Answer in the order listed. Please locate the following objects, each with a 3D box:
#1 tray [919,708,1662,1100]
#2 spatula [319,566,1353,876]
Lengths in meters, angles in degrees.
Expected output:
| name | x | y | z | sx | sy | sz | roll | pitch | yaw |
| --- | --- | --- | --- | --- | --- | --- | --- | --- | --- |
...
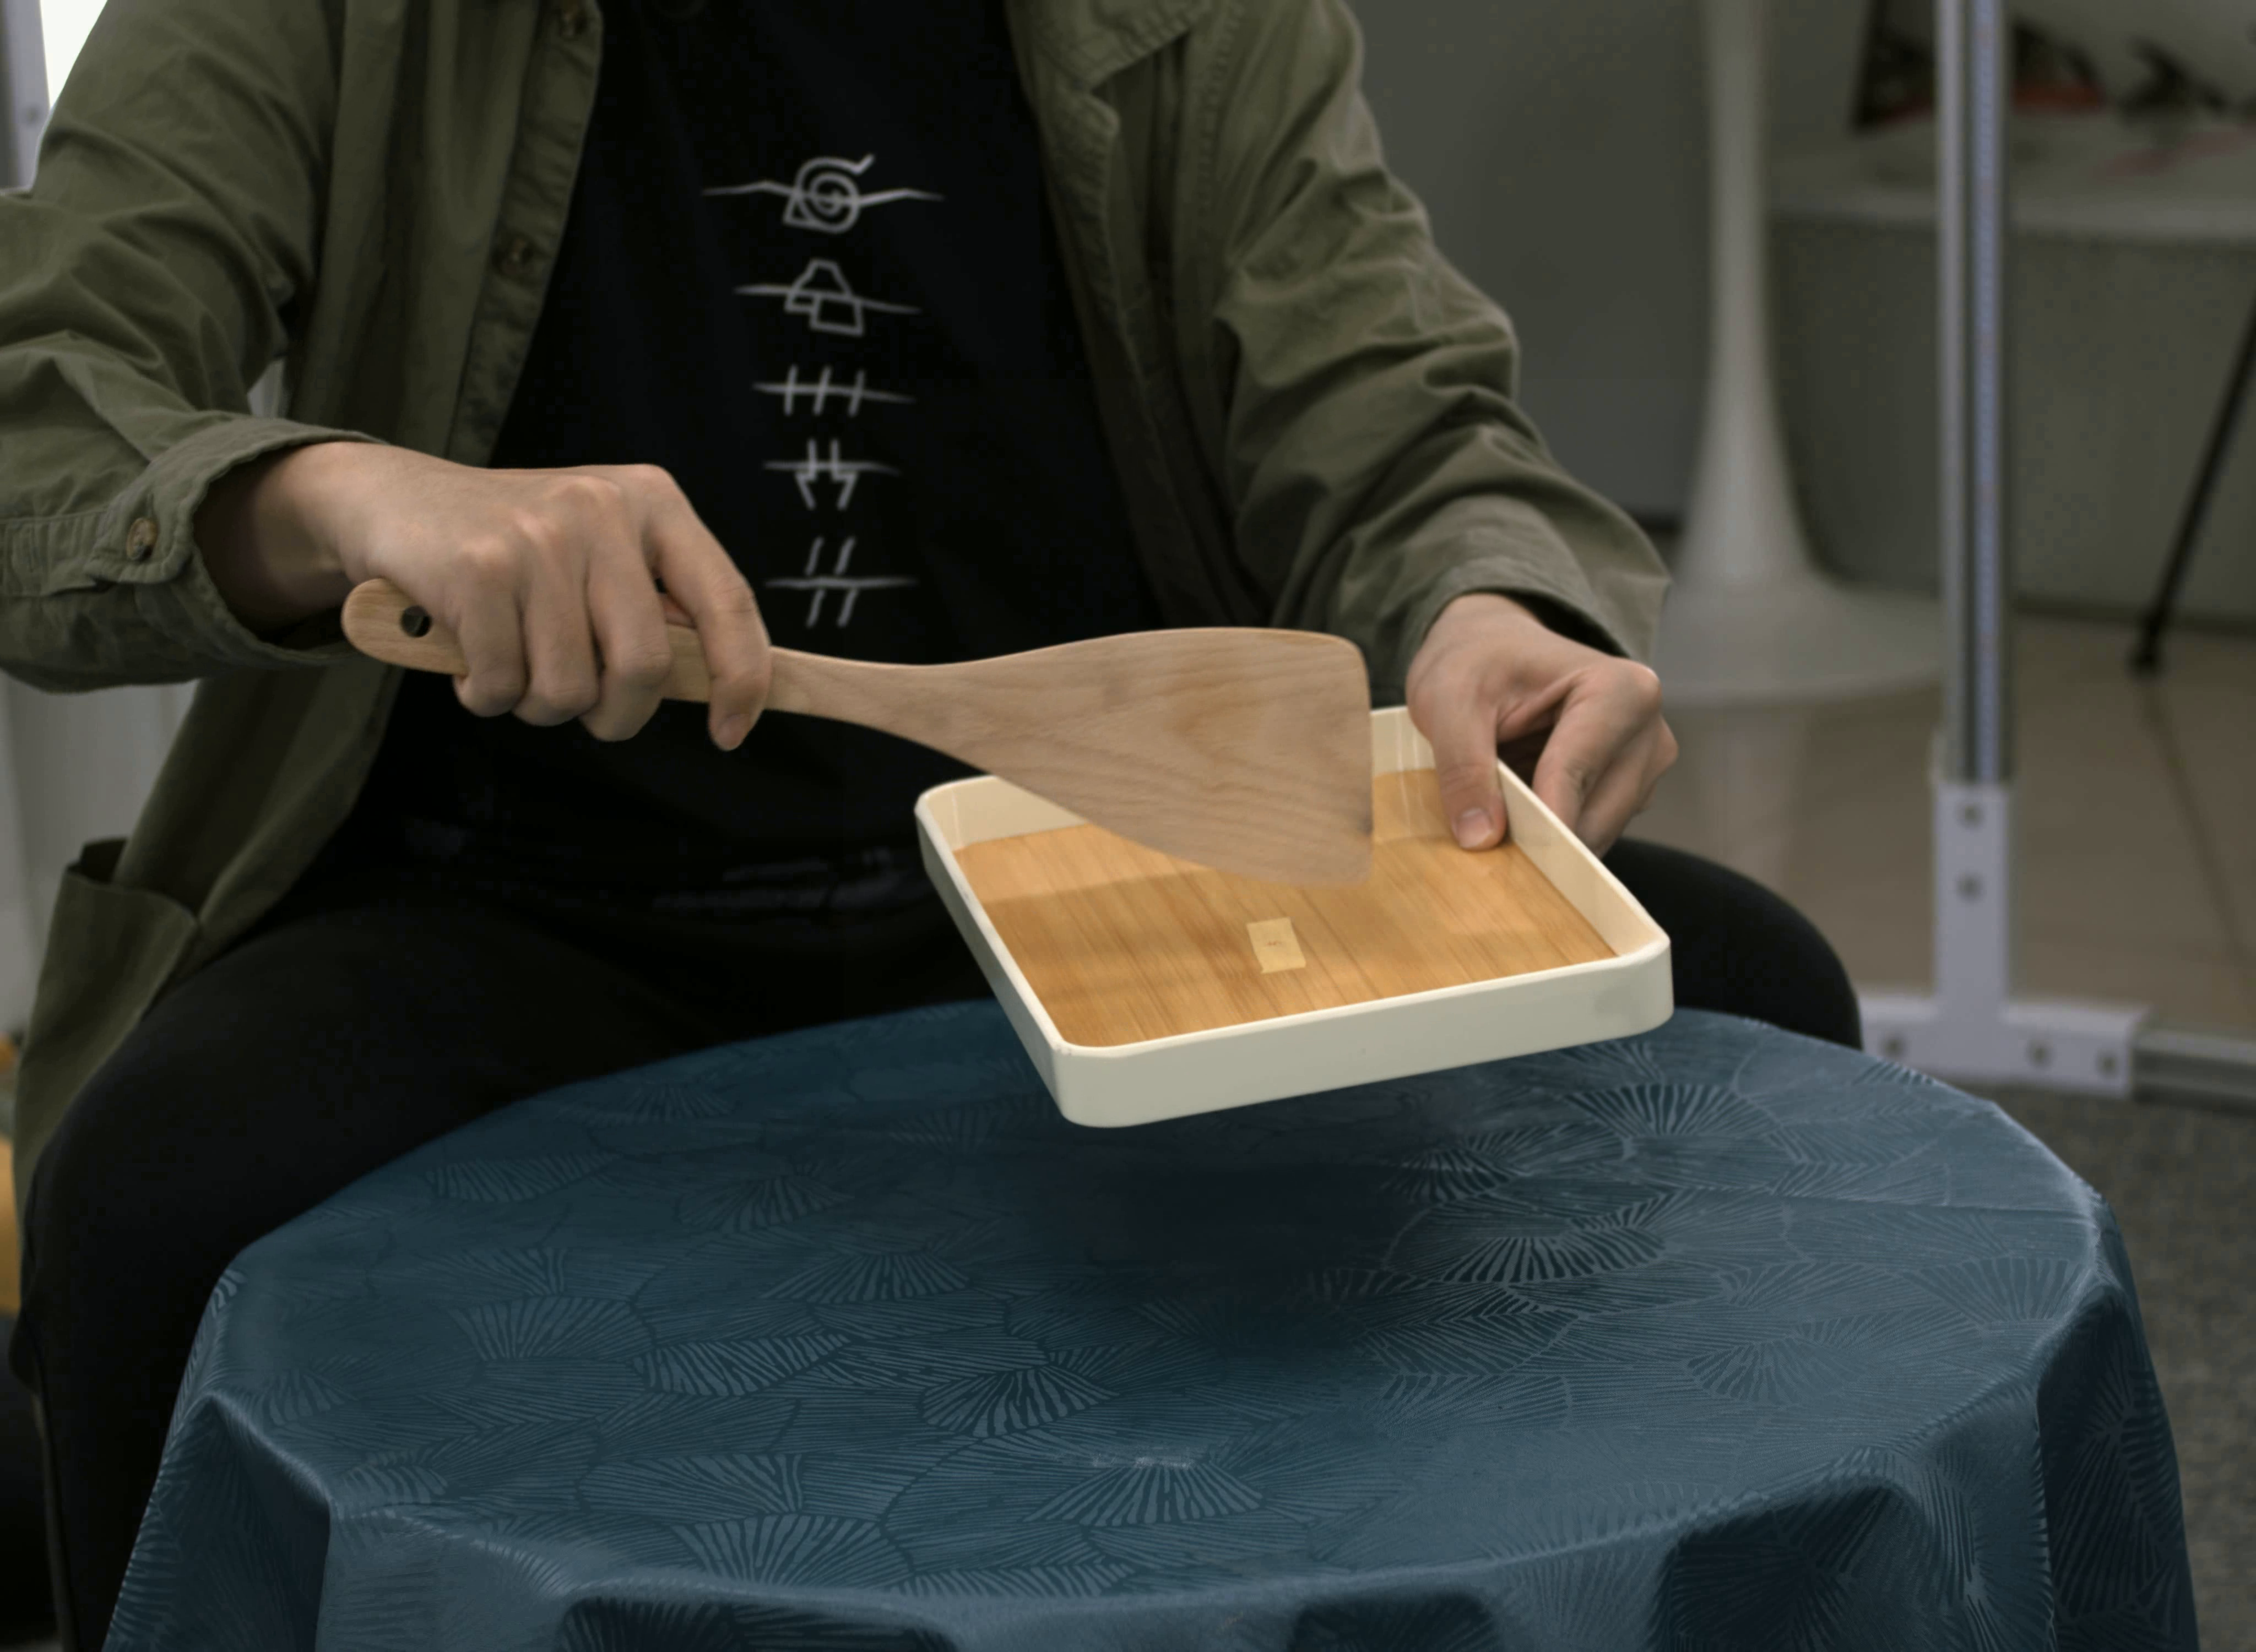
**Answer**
| name | x | y | z | sx | sy | sz | roll | pitch | yaw |
| --- | --- | --- | --- | --- | --- | --- | --- | --- | --- |
| tray | 0.044 | 0.020 | 1.716 | 0.188 | 0.027 | 0.302 | -9 | 15 | -7 |
| spatula | -0.087 | -0.046 | 1.657 | 0.323 | 0.081 | 0.016 | 8 | 6 | 1 |
